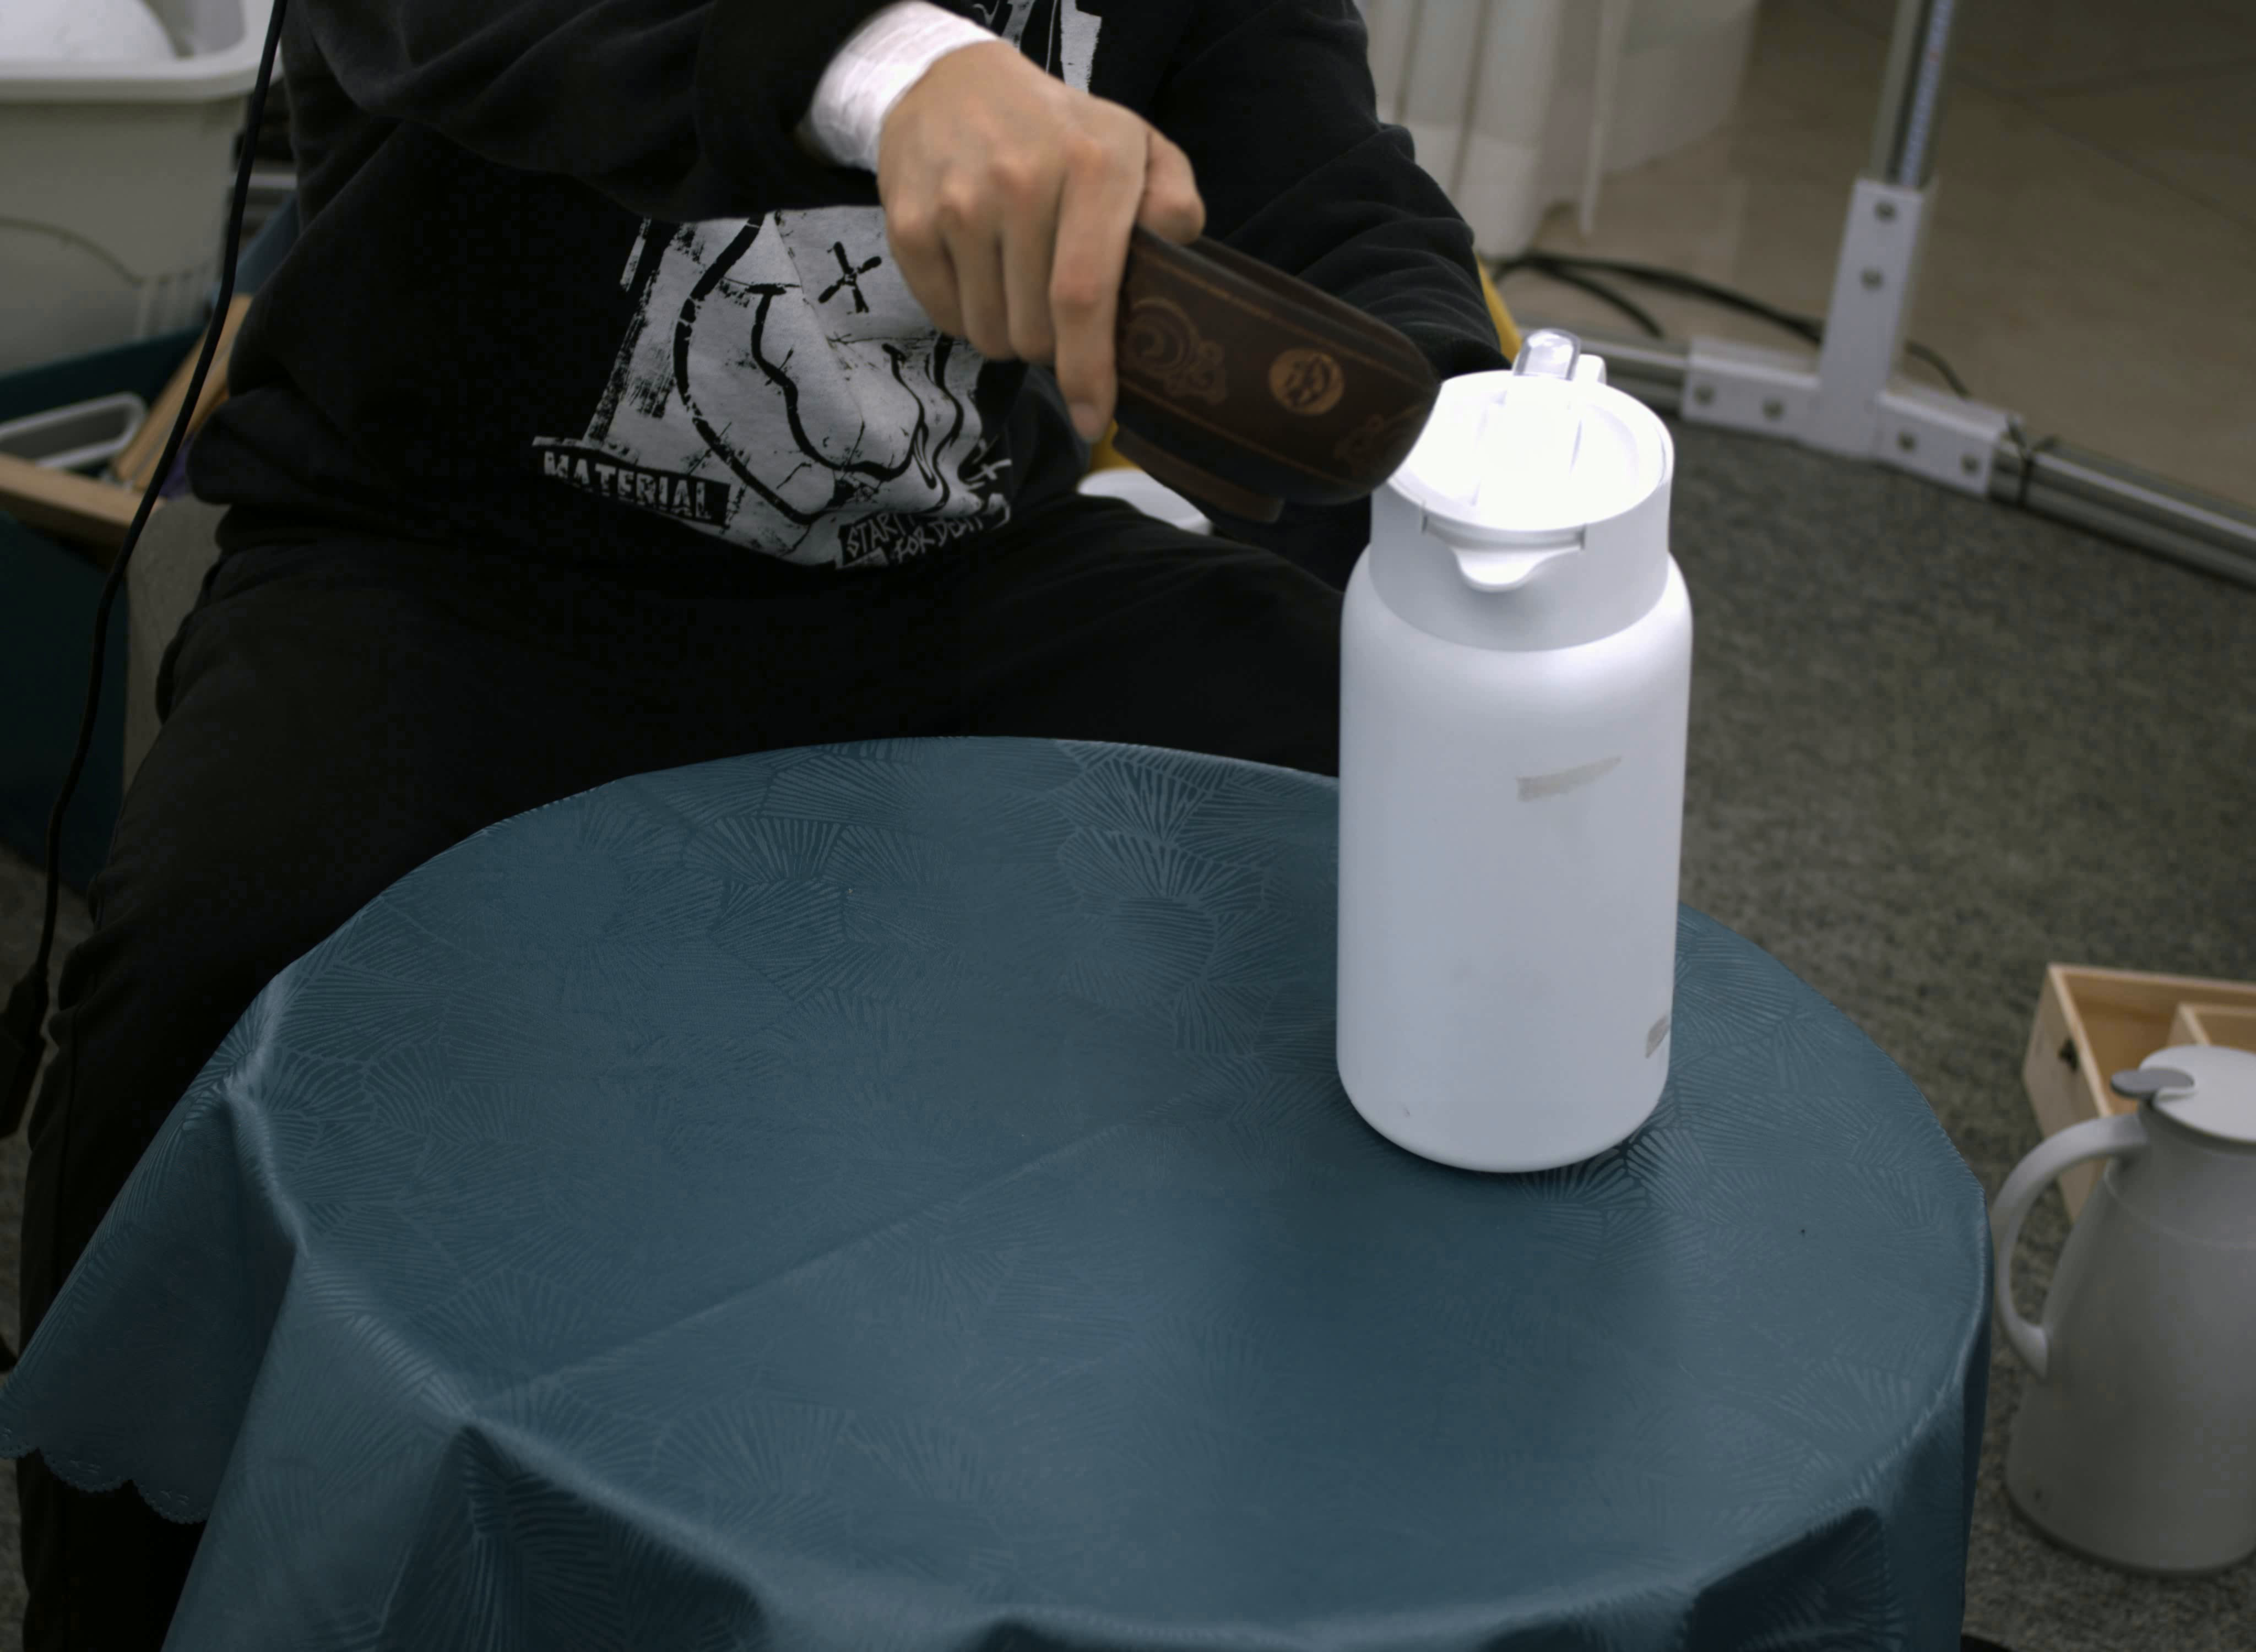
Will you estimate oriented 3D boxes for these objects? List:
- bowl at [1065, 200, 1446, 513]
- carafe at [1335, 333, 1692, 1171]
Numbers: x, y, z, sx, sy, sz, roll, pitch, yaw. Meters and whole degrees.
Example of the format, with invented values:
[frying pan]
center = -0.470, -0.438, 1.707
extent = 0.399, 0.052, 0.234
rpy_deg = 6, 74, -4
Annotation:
[bowl]
center = 0.033, -0.140, 1.658
extent = 0.117, 0.070, 0.118
rpy_deg = 23, 9, -4
[carafe]
center = 0.132, -0.028, 1.818
extent = 0.124, 0.267, 0.174
rpy_deg = 4, 36, 10
